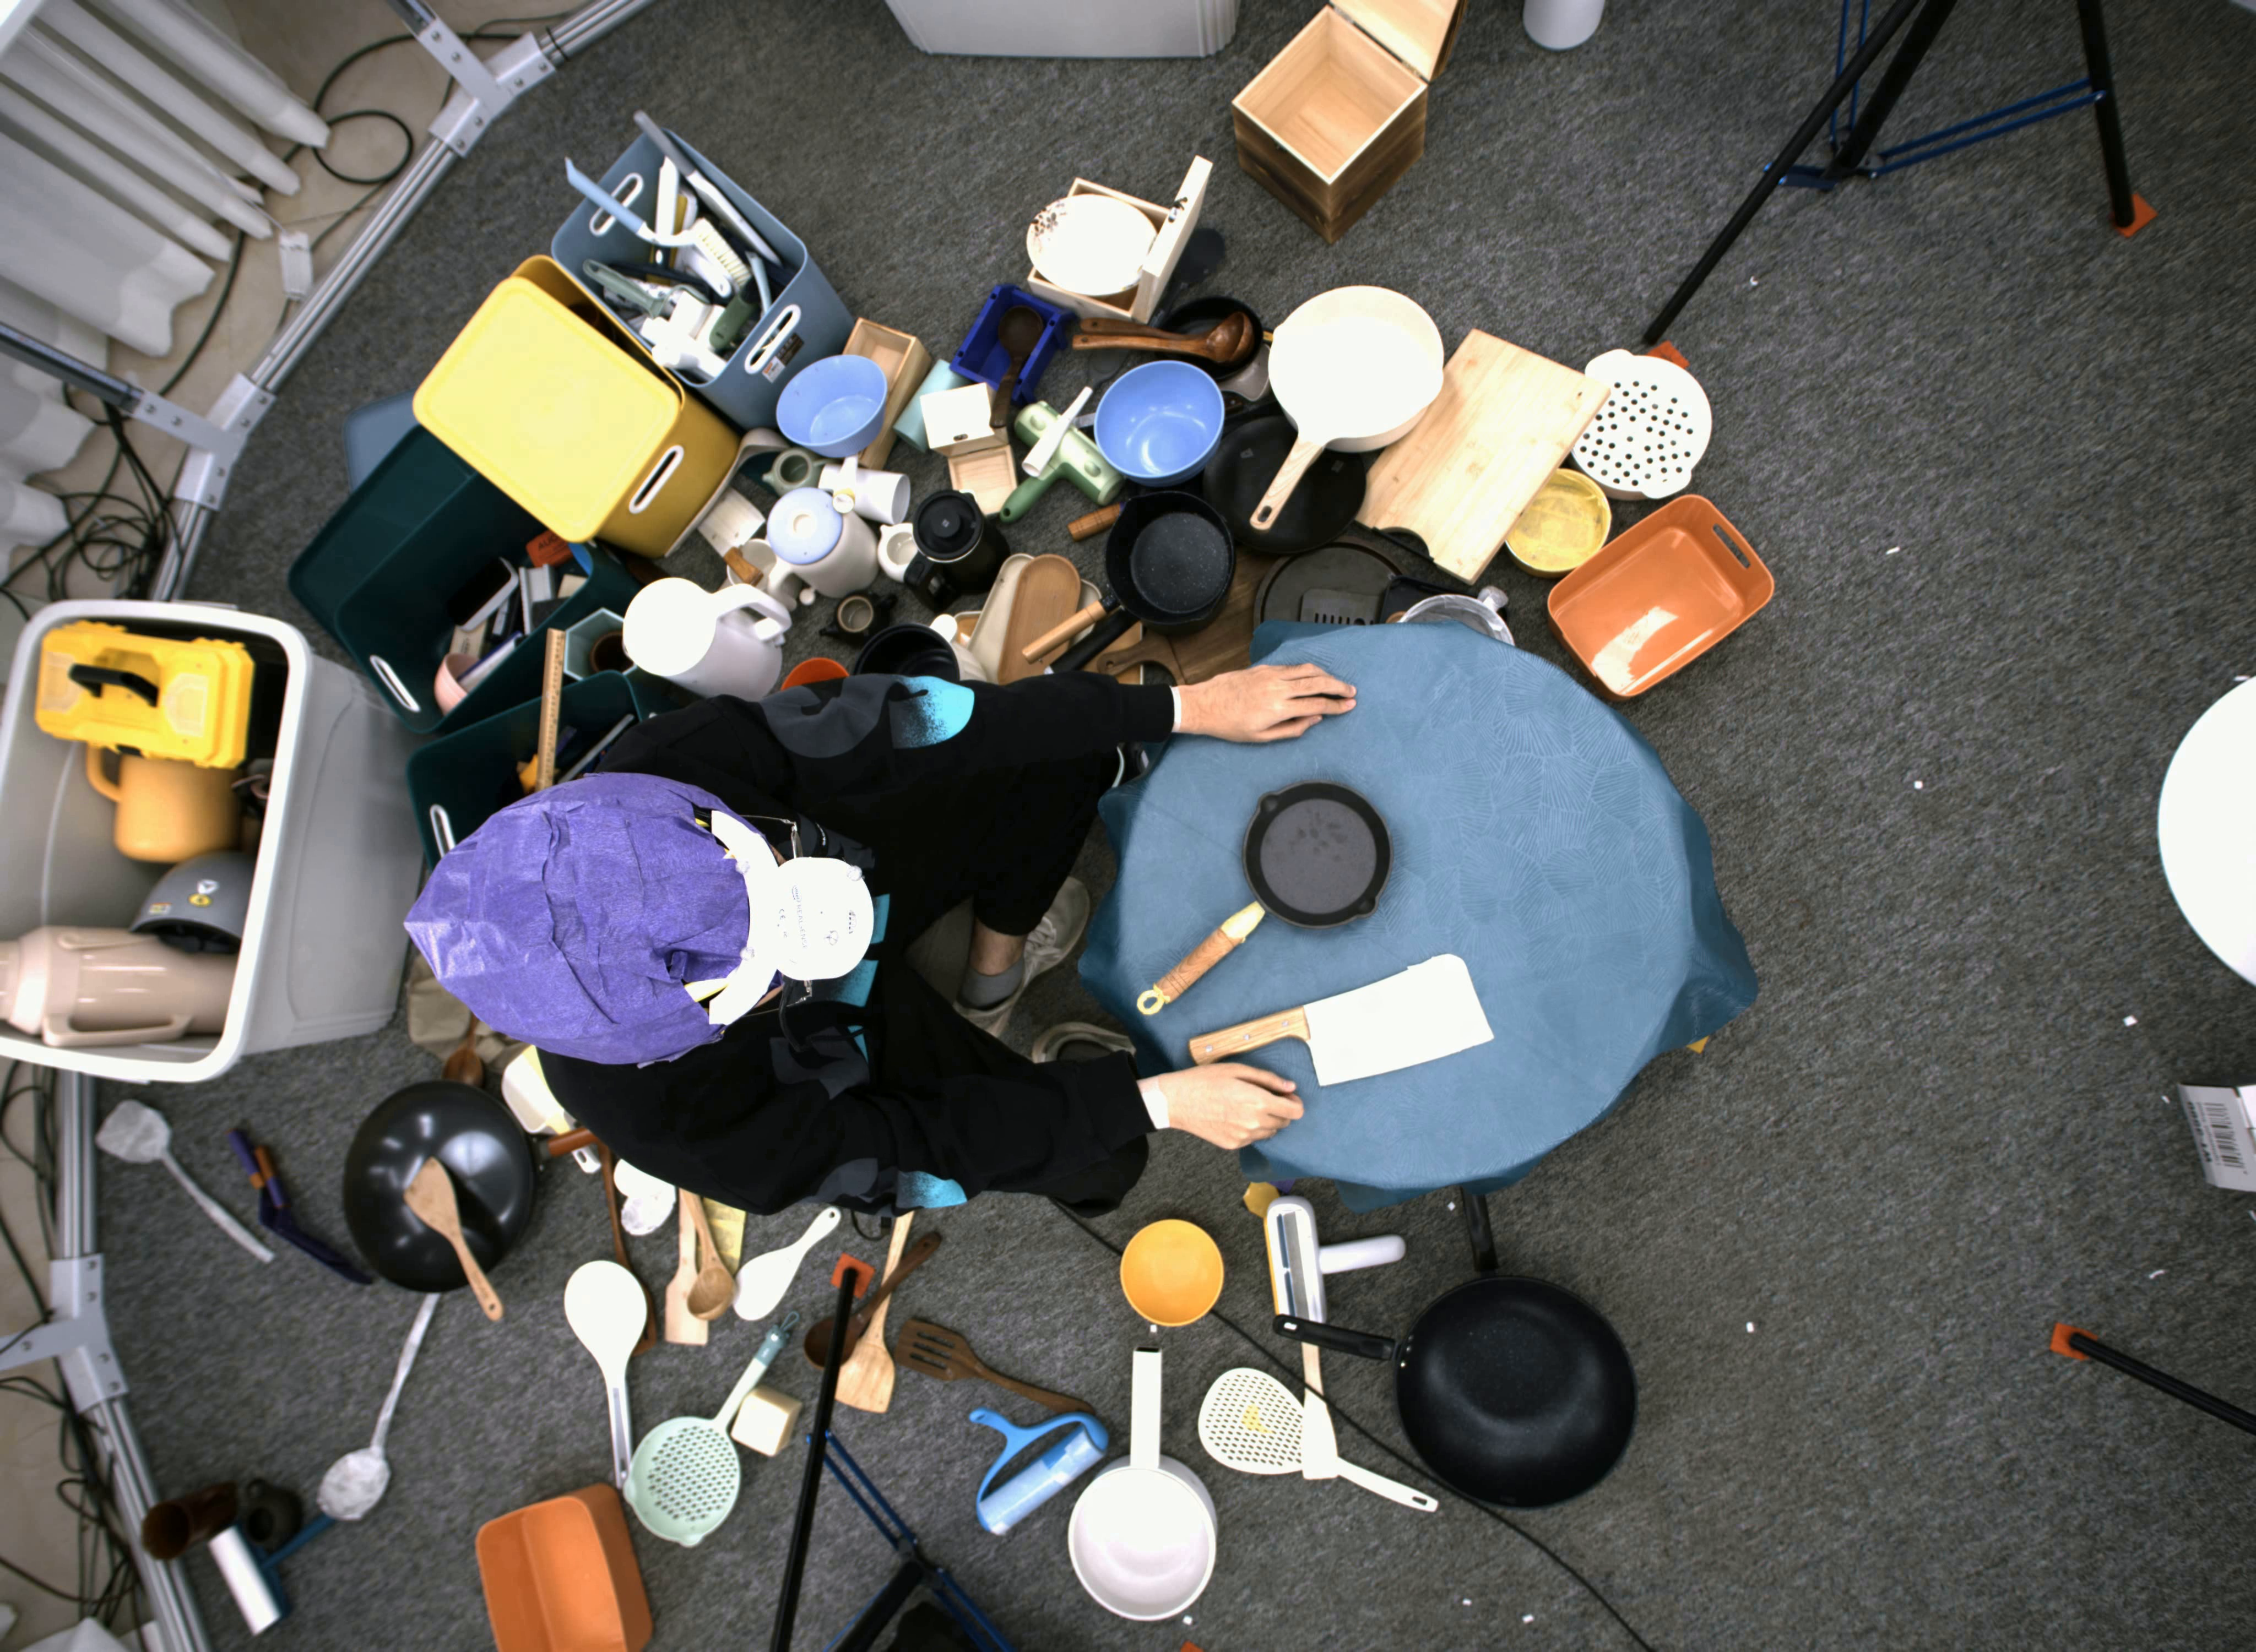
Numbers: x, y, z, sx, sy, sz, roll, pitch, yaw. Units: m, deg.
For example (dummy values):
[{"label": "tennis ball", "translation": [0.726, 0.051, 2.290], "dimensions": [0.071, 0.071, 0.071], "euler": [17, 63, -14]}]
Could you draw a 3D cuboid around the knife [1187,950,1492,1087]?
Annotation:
[{"label": "knife", "translation": [0.217, 0.212, 1.453], "dimensions": [0.317, 0.022, 0.113], "euler": [-13, 85, 7]}]

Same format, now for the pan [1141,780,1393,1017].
[{"label": "pan", "translation": [0.136, 0.086, 1.459], "dimensions": [0.325, 0.049, 0.168], "euler": [-42, 81, 5]}]
